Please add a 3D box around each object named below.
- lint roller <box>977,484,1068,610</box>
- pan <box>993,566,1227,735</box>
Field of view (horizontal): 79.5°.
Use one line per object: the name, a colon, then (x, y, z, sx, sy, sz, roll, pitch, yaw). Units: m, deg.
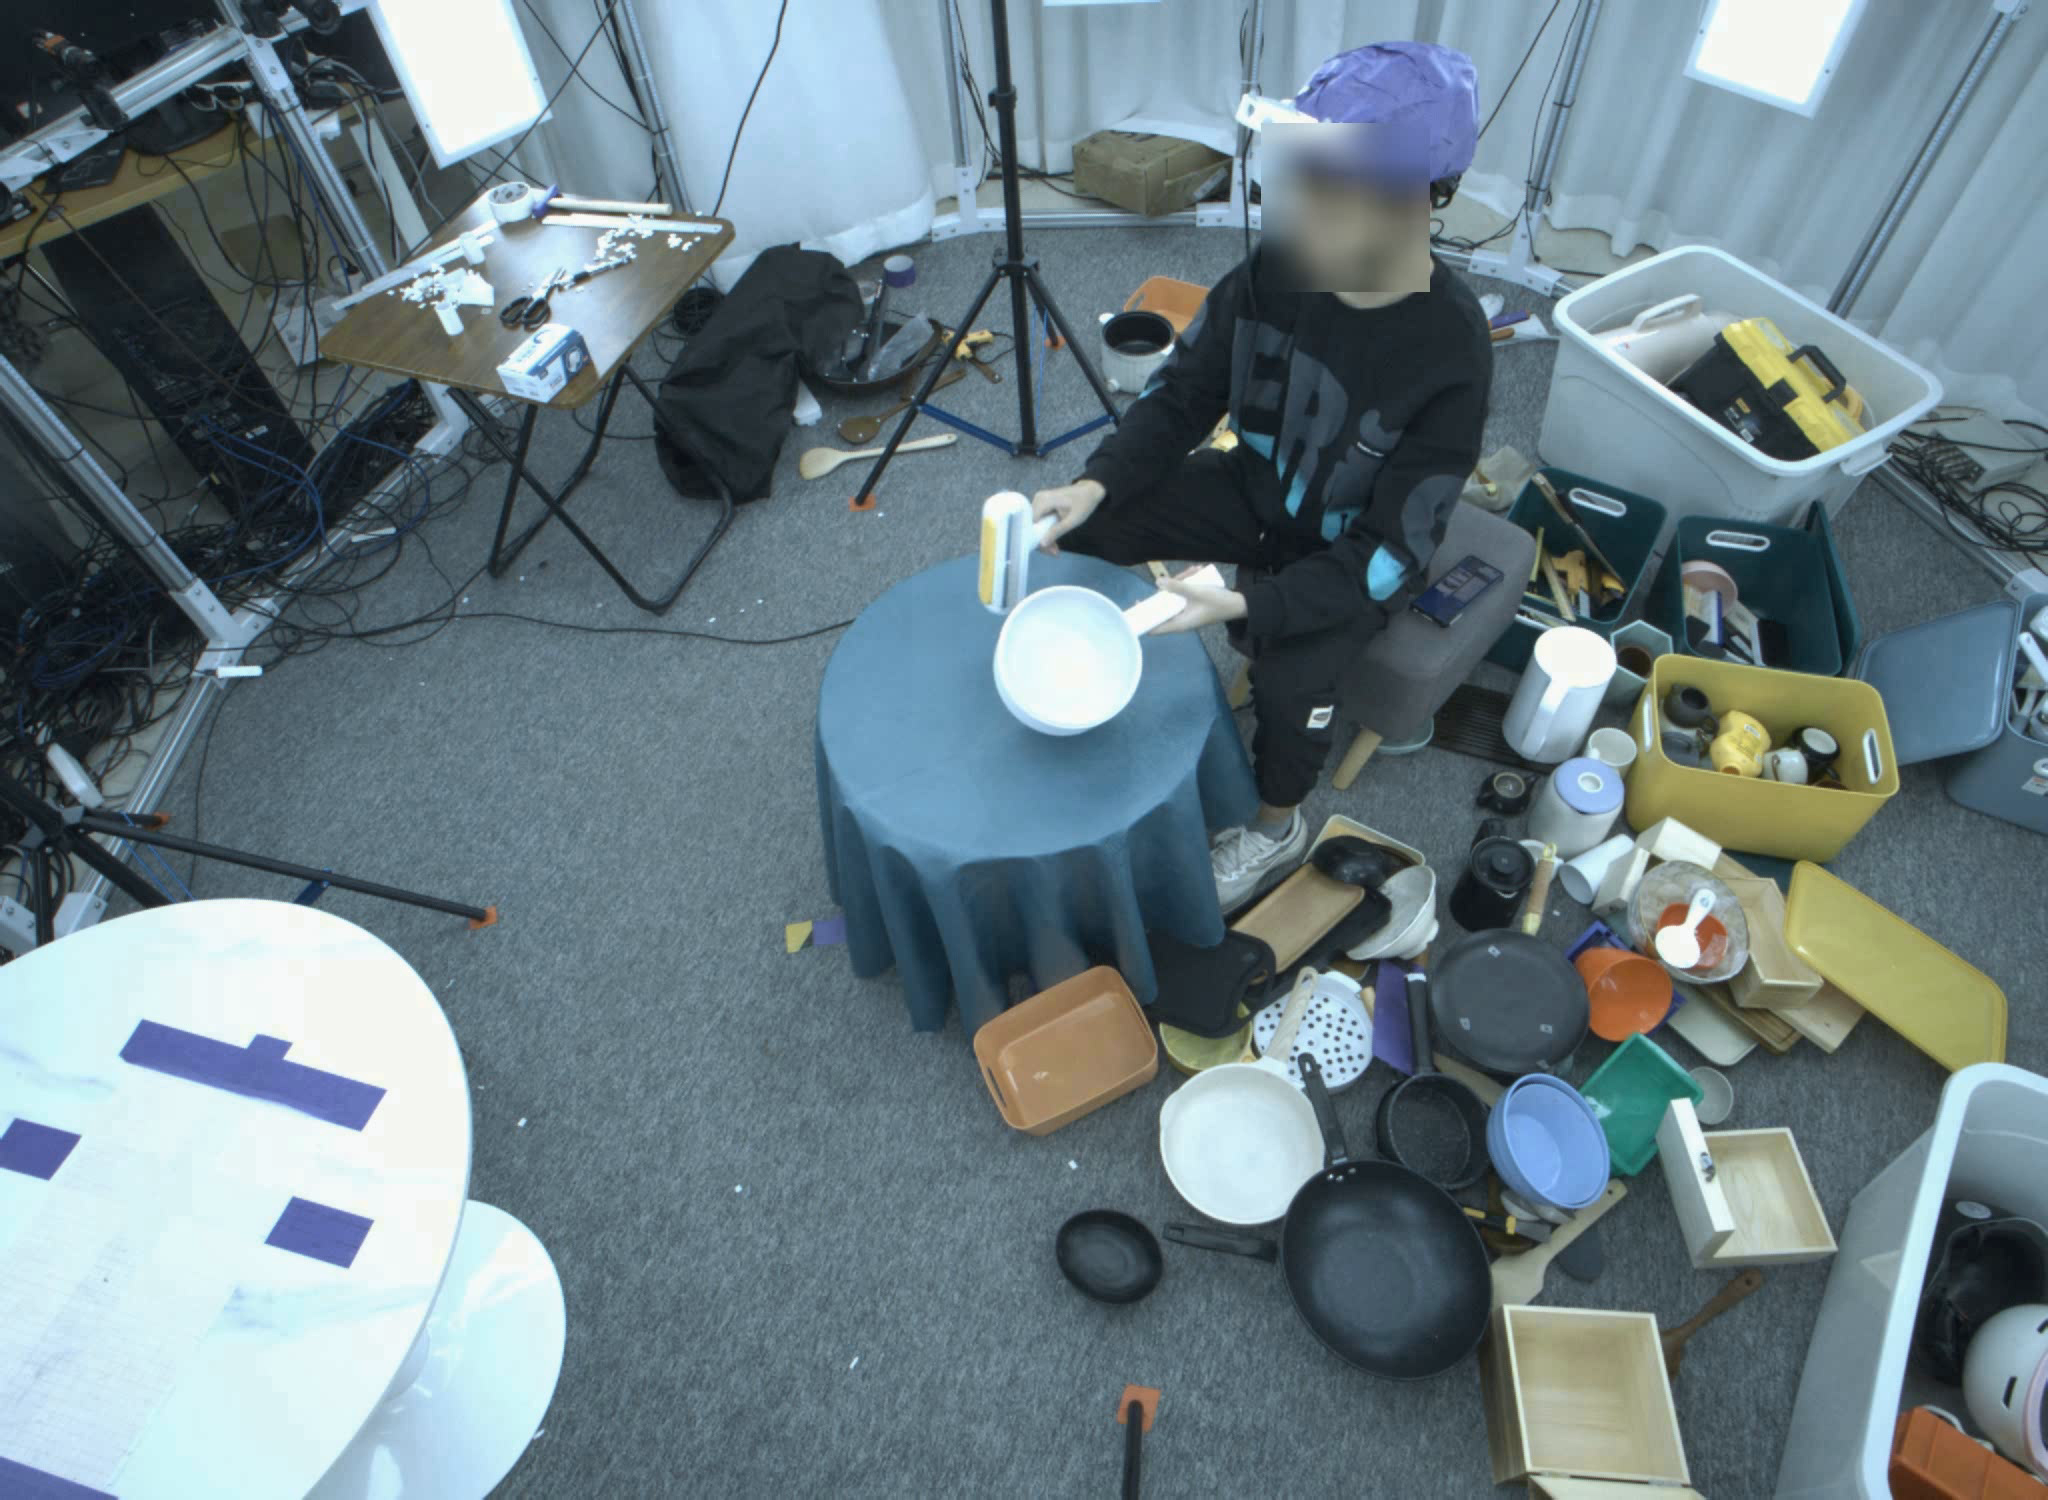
lint roller: (0.006, -0.318, 1.825, 0.195, 0.194, 0.072, -27, 42, -36)
pan: (0.121, -0.158, 1.742, 0.357, 0.101, 0.201, -30, 87, -15)
